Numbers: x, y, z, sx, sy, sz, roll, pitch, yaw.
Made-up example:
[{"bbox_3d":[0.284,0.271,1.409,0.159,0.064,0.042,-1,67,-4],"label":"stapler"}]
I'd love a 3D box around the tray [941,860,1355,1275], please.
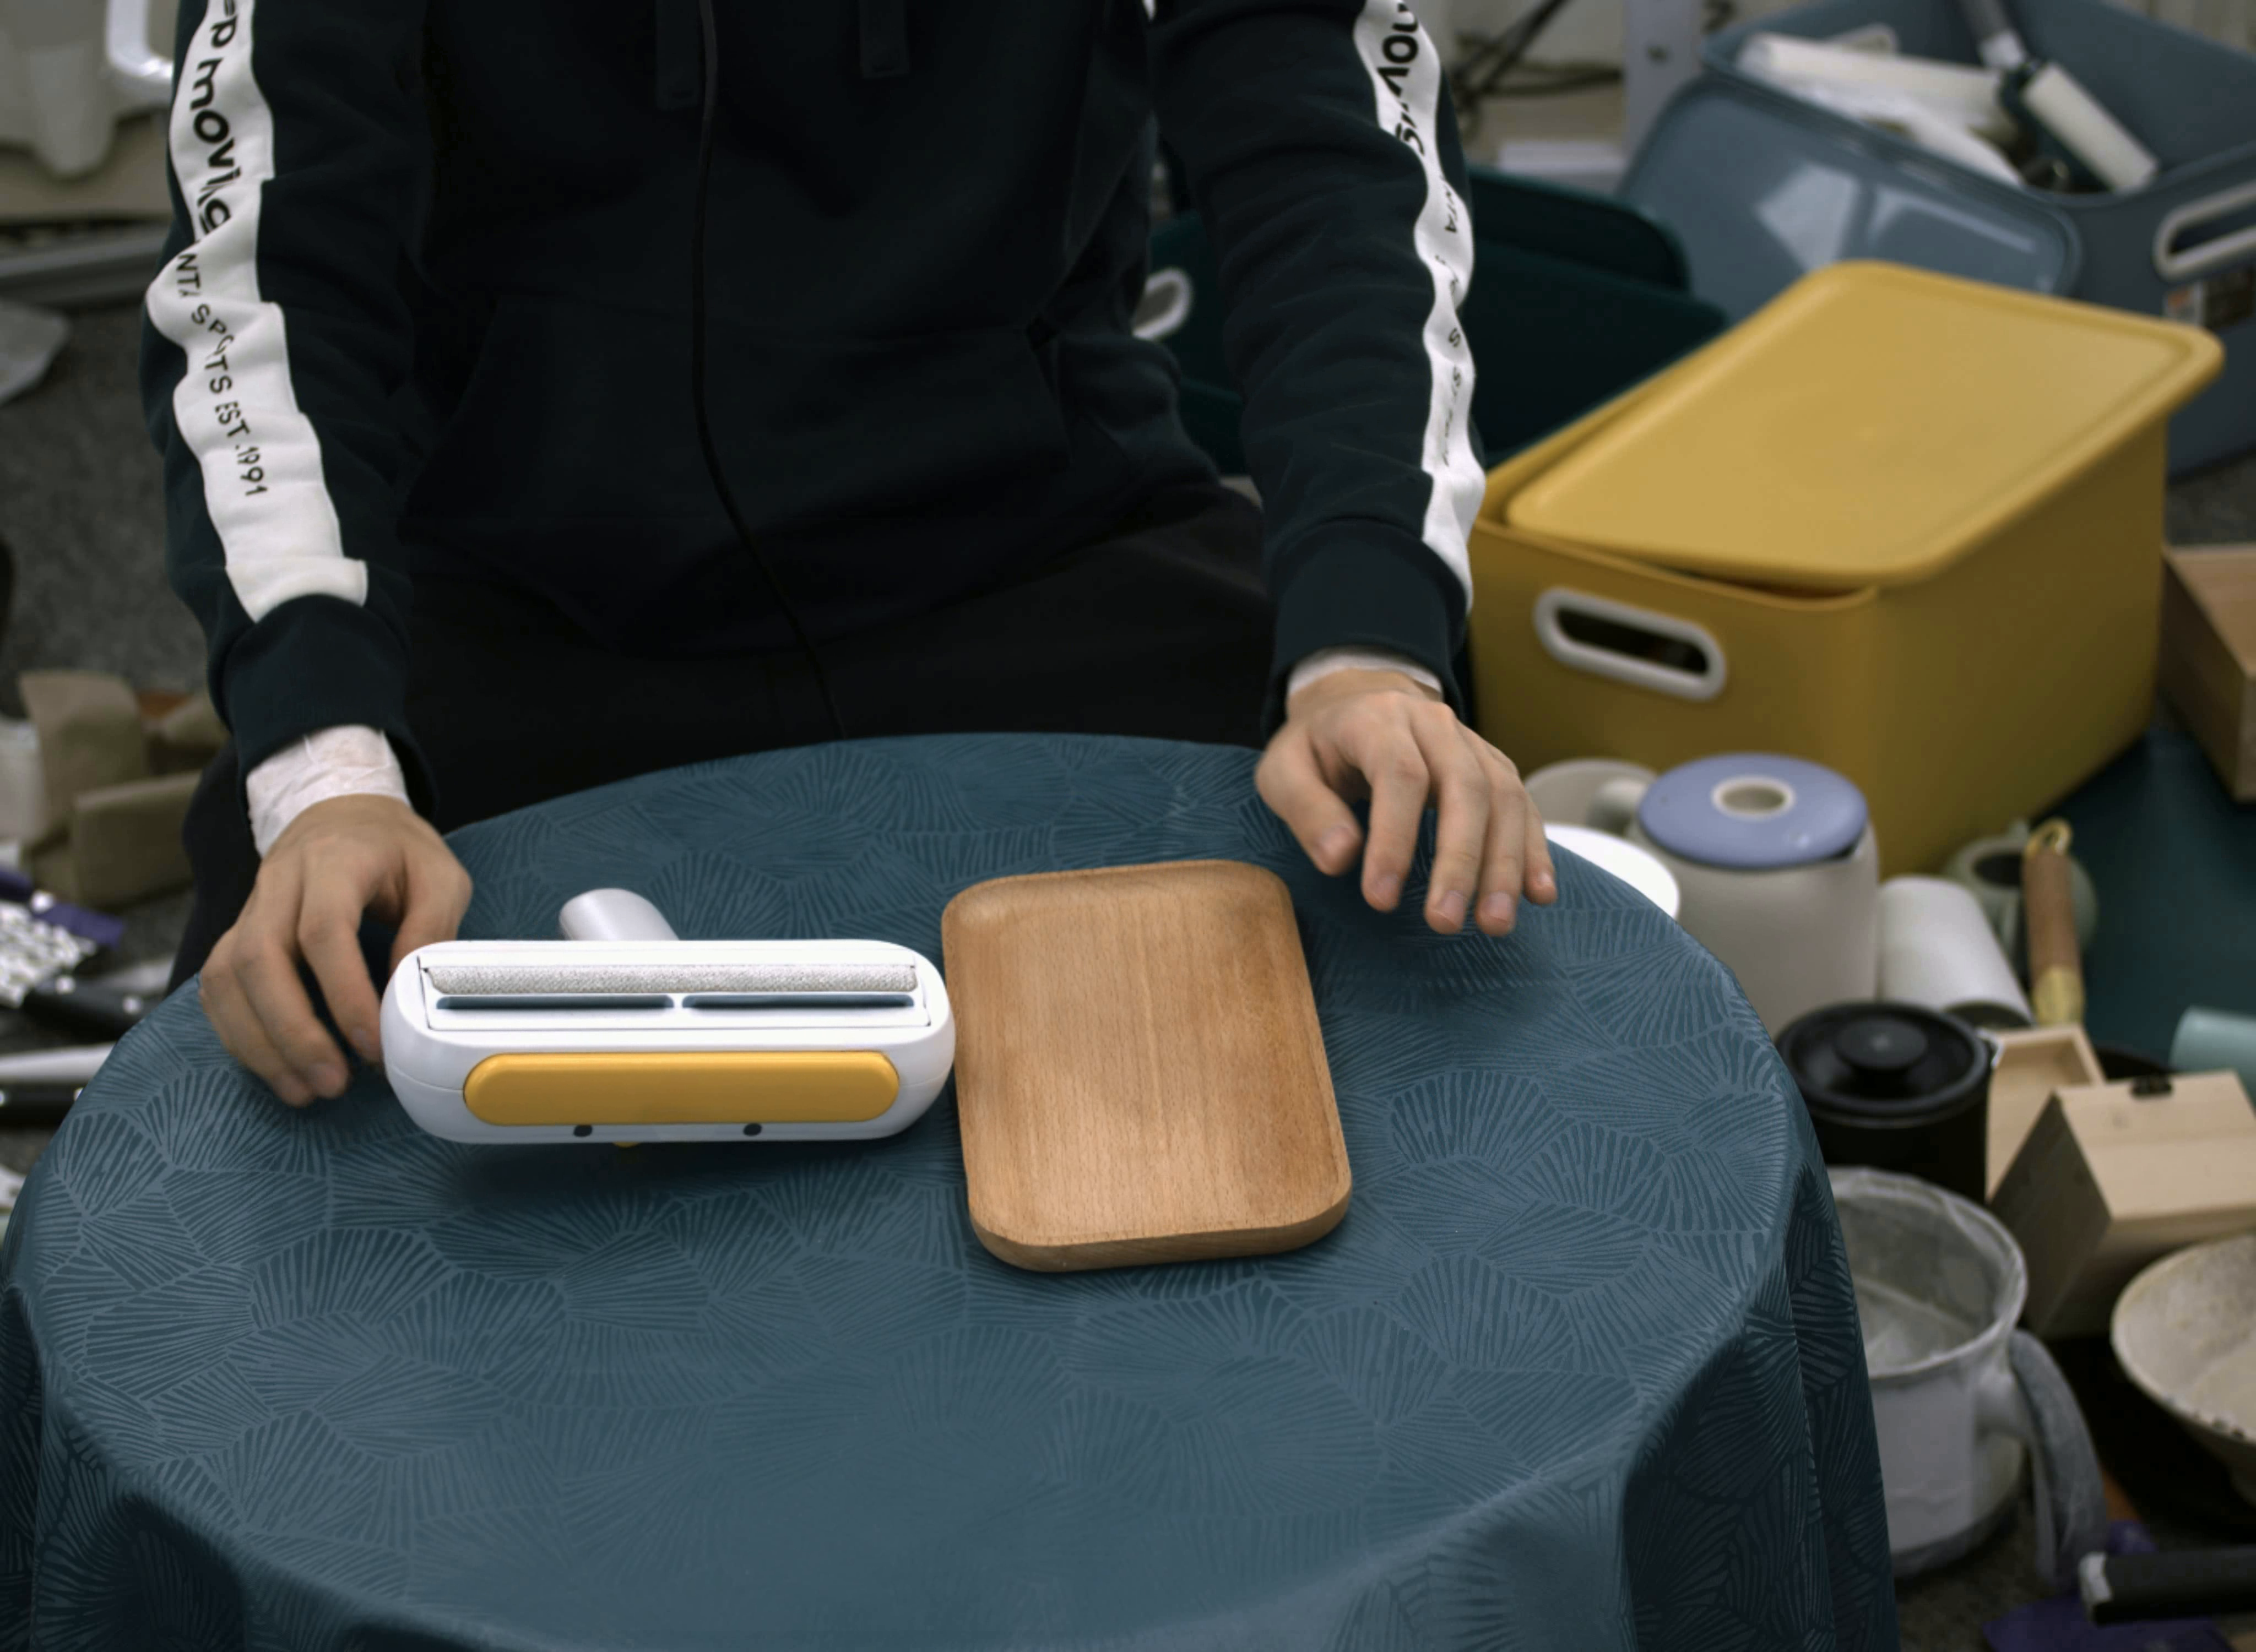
[{"bbox_3d":[0.004,0.080,1.922,0.130,0.022,0.254,-2,27,-3],"label":"tray"}]

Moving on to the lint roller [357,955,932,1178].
[{"bbox_3d":[-0.169,0.072,1.939,0.192,0.074,0.193,0,13,-8],"label":"lint roller"}]
